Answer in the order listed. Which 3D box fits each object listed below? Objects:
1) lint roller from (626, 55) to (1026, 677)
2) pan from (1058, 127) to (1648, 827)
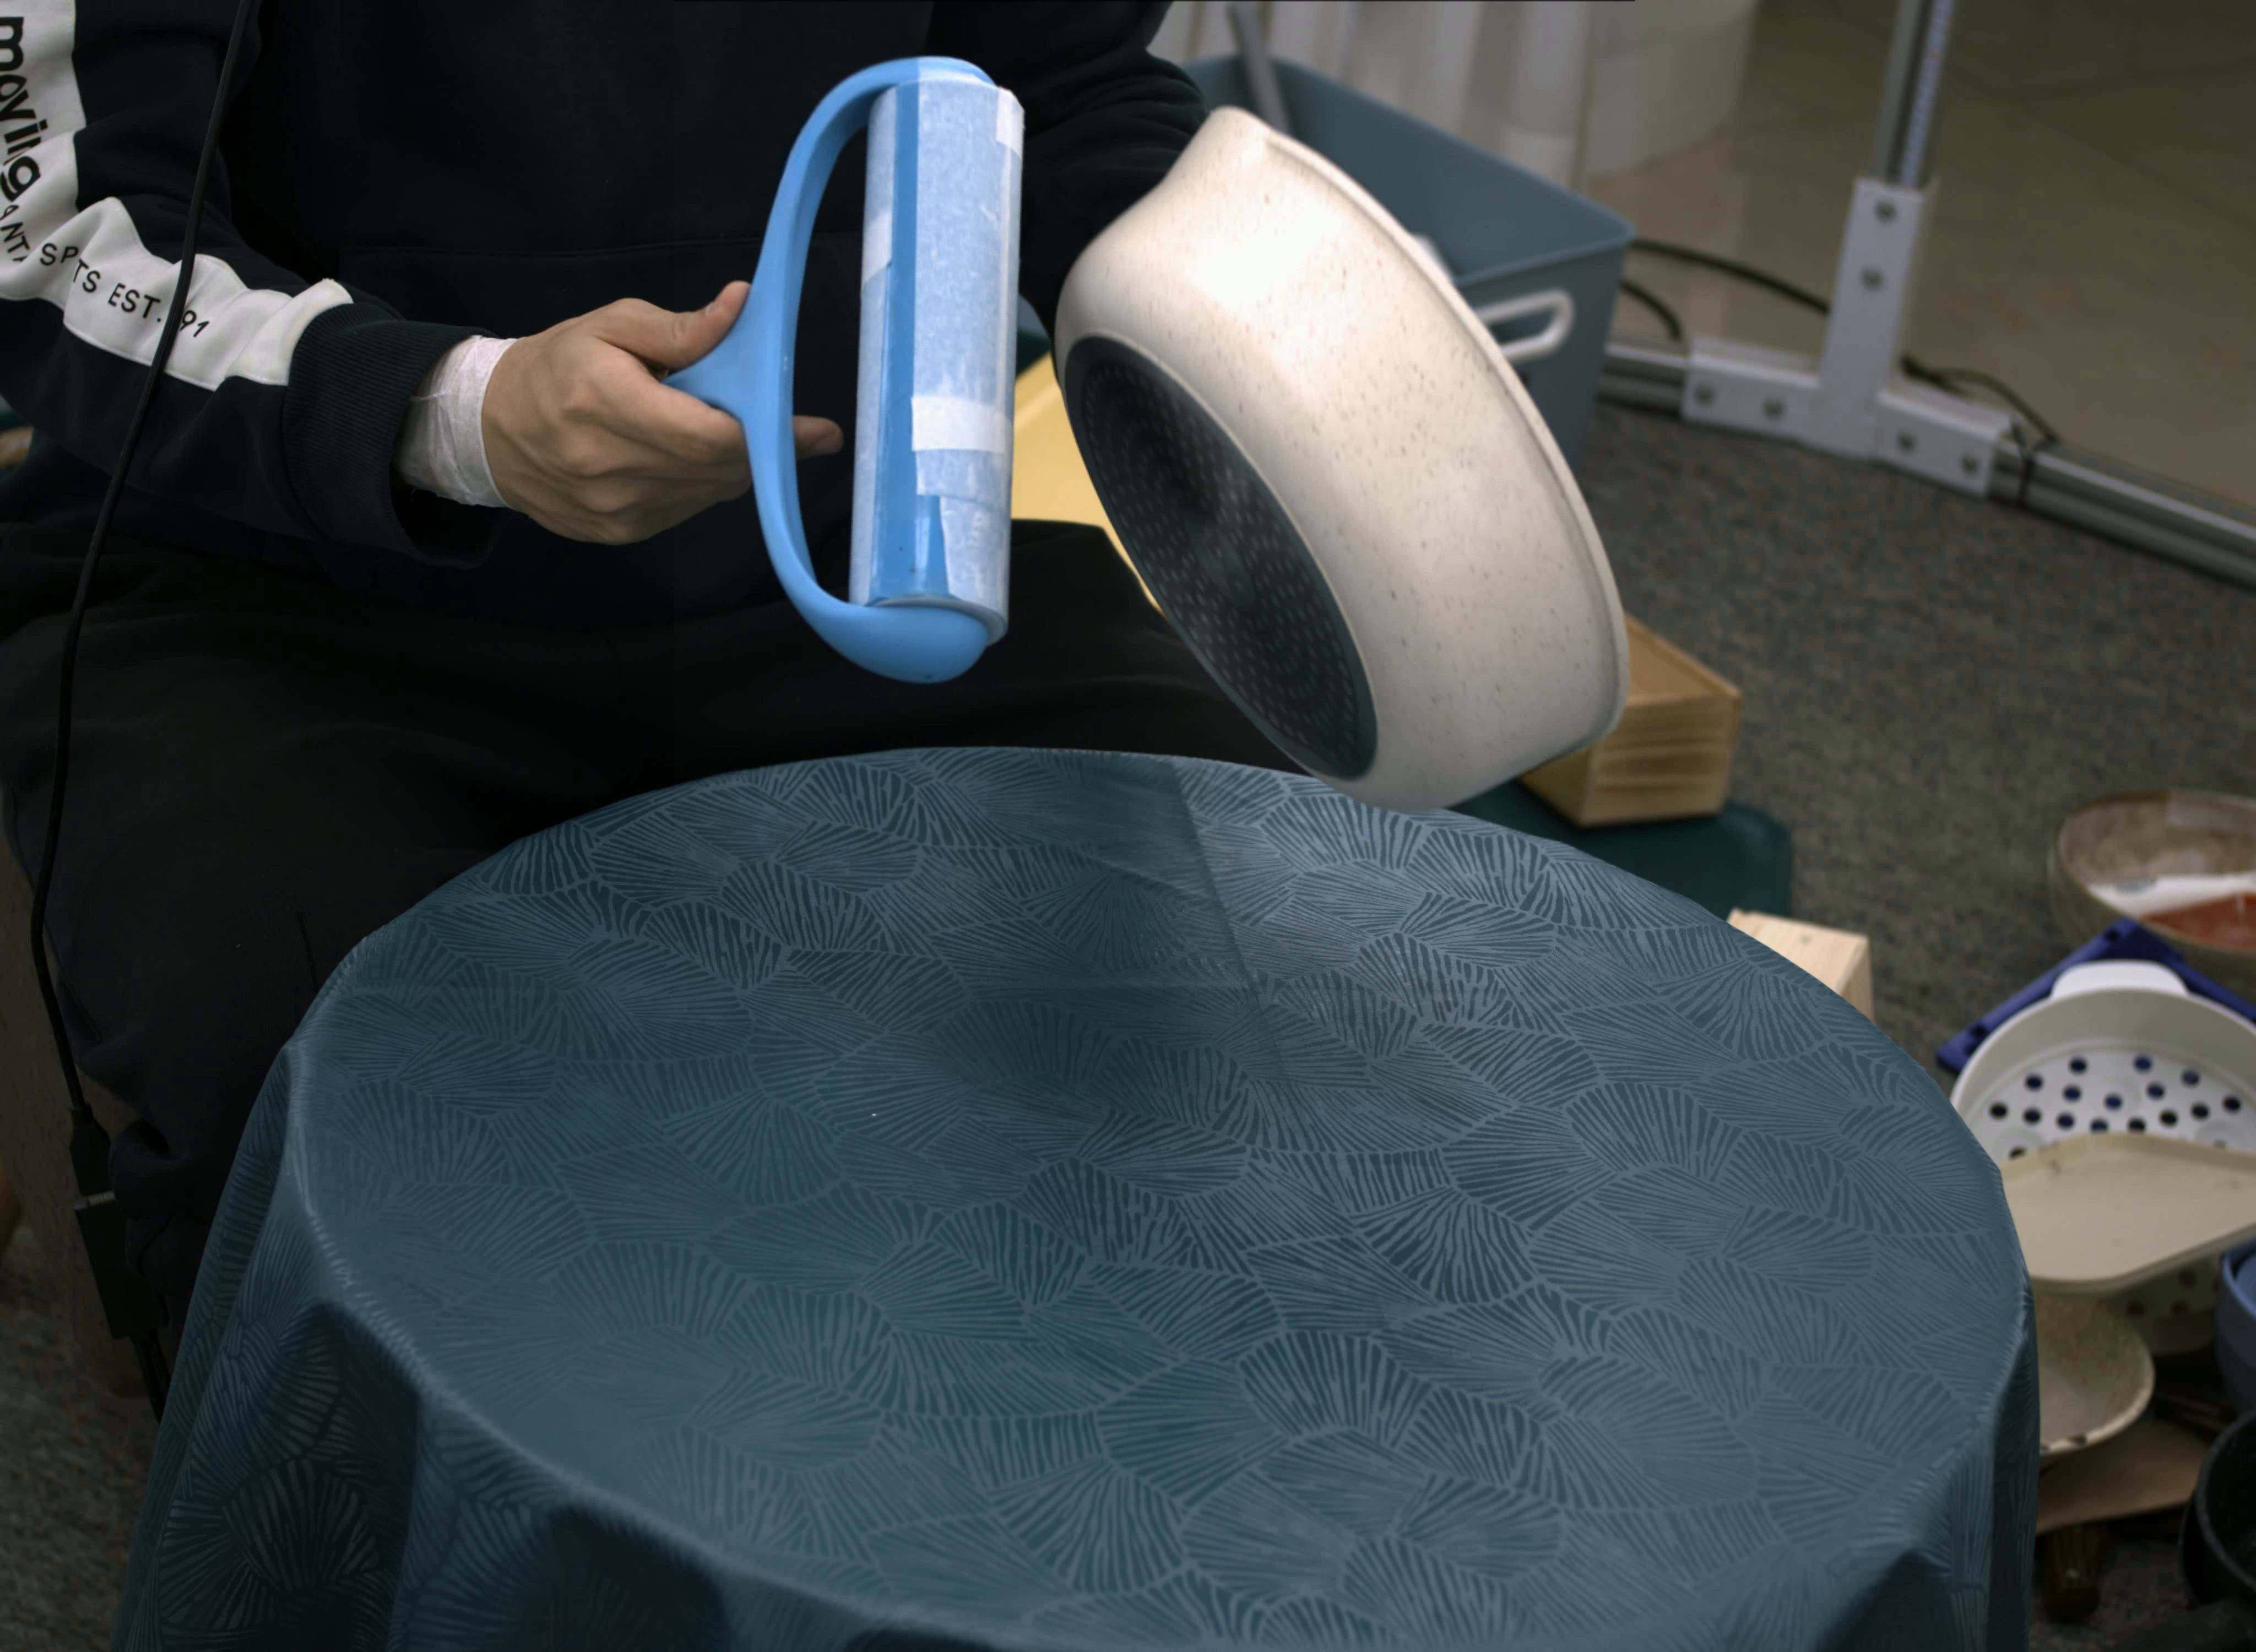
[{"bbox_3d":[-0.115,-0.146,1.832,0.180,0.230,0.067,-14,-25,28],"label":"lint roller"},{"bbox_3d":[0.041,-0.120,1.933,0.102,0.262,0.437,-35,15,-14],"label":"pan"}]
